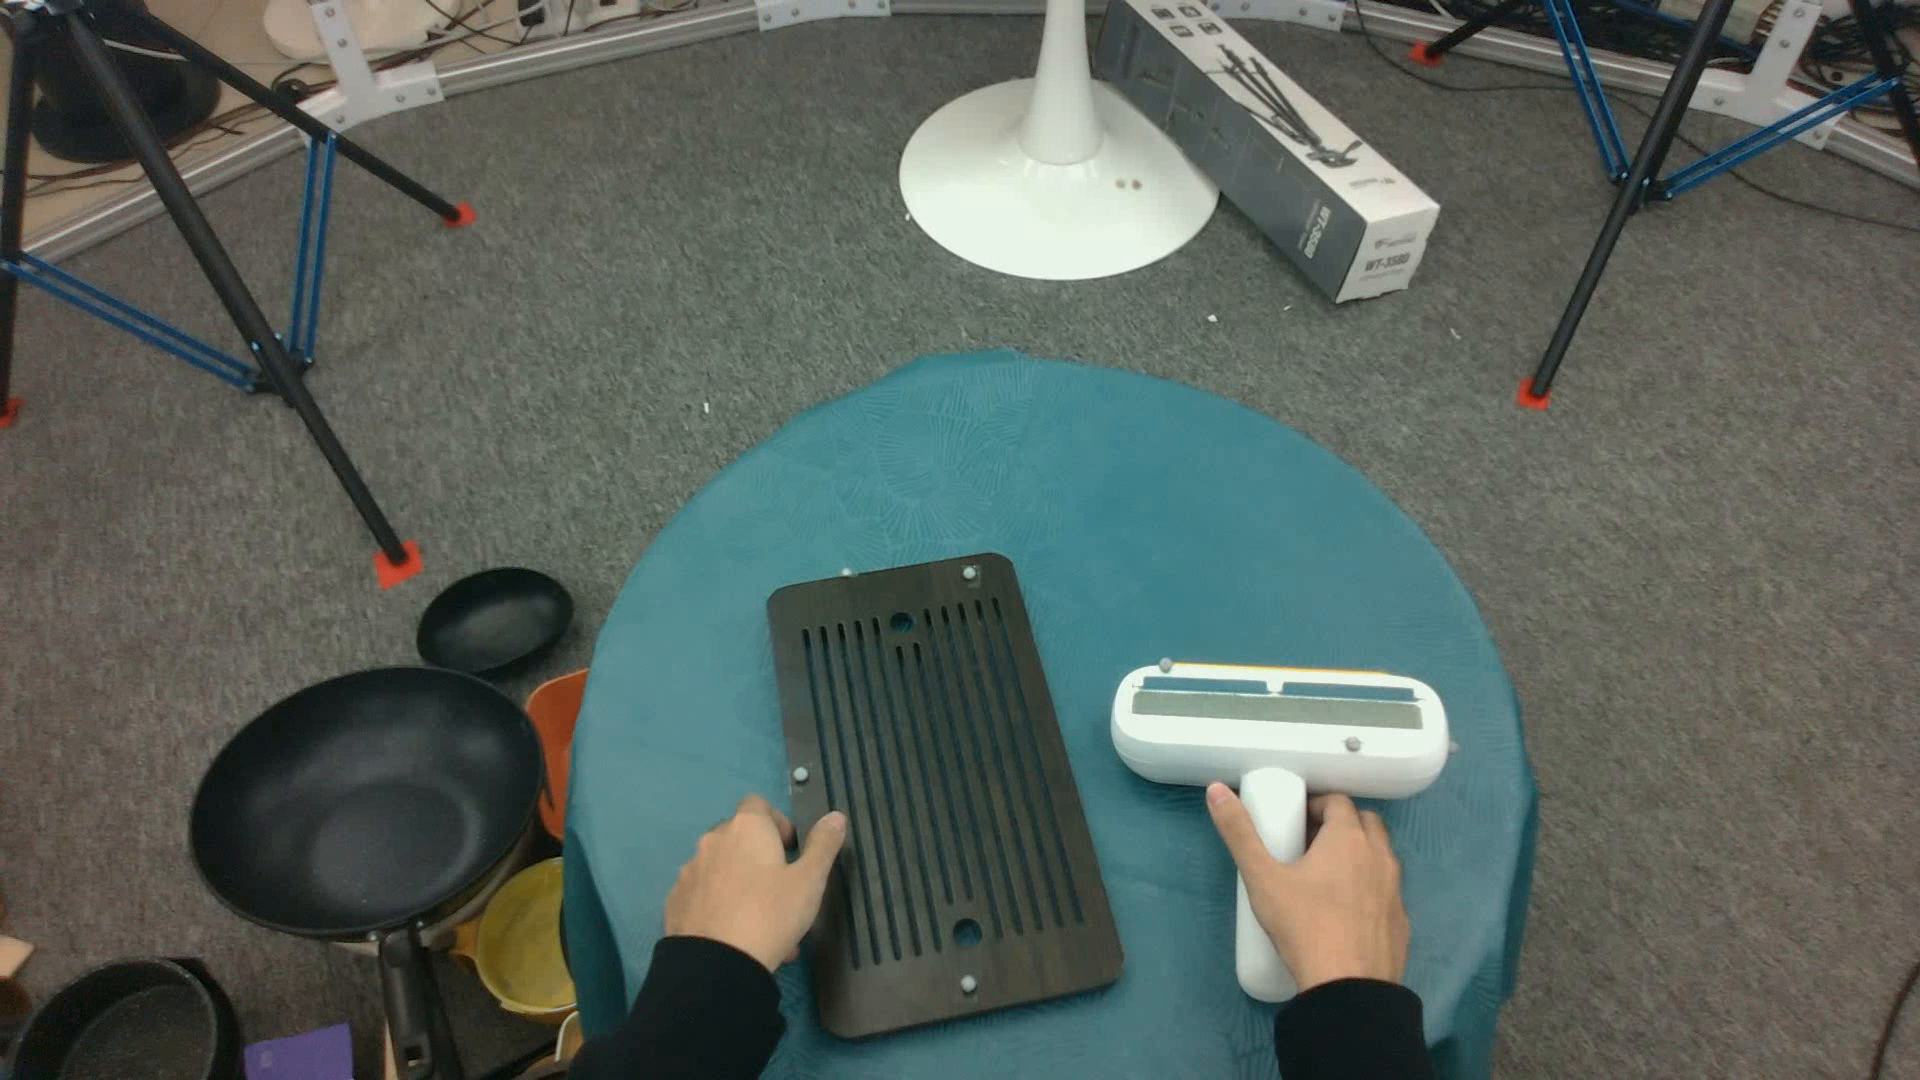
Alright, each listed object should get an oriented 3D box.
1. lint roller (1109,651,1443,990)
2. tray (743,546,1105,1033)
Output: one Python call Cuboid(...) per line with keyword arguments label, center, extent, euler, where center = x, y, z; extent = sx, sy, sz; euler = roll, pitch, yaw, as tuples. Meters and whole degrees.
Cuboid(label="lint roller", center=(0.173, 0.158, 0.792), extent=(0.192, 0.074, 0.193), euler=(7, 53, 12))
Cuboid(label="tray", center=(-0.032, 0.136, 0.839), extent=(0.170, 0.018, 0.307), euler=(-9, 52, -7))
